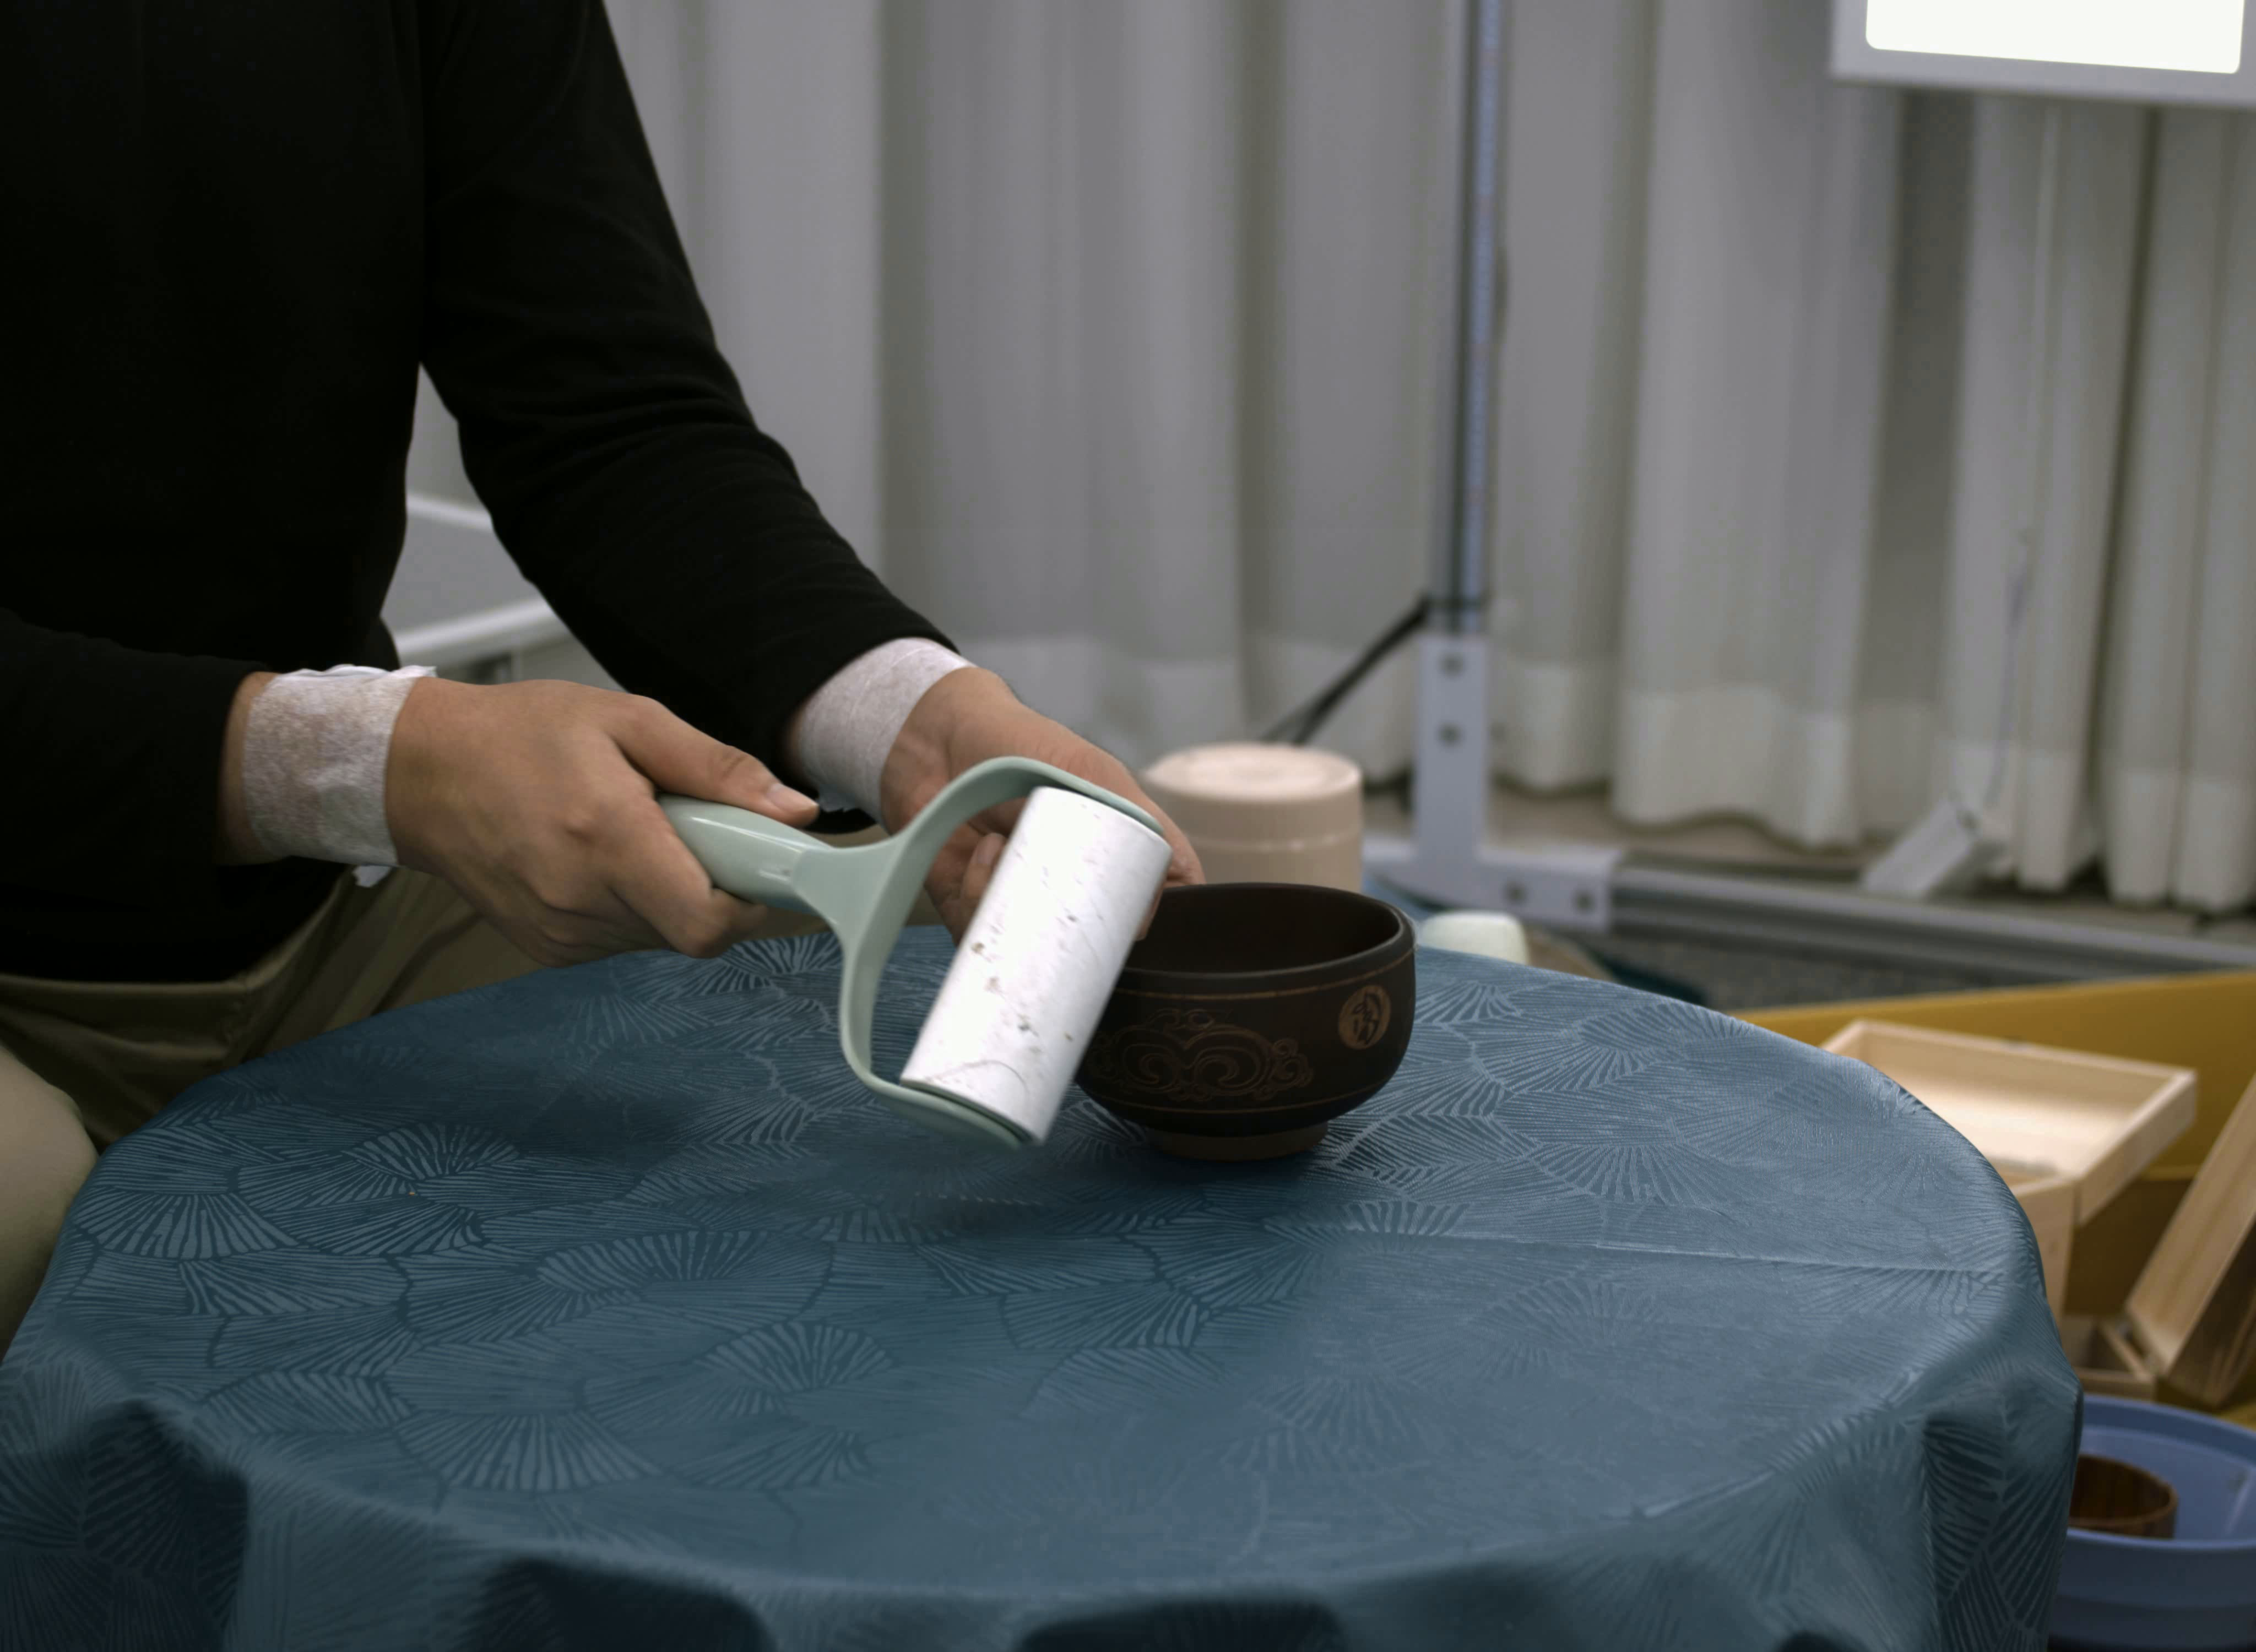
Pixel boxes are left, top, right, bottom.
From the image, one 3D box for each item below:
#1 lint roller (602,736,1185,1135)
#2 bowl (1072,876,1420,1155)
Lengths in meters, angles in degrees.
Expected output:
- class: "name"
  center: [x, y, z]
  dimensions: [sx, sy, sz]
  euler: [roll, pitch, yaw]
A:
- class: "lint roller"
  center: [-0.085, 0.015, 1.622]
  dimensions: [0.195, 0.116, 0.049]
  euler: [18, -12, 25]
- class: "bowl"
  center: [0.034, 0.063, 1.660]
  dimensions: [0.117, 0.070, 0.117]
  euler: [-3, 14, 1]
